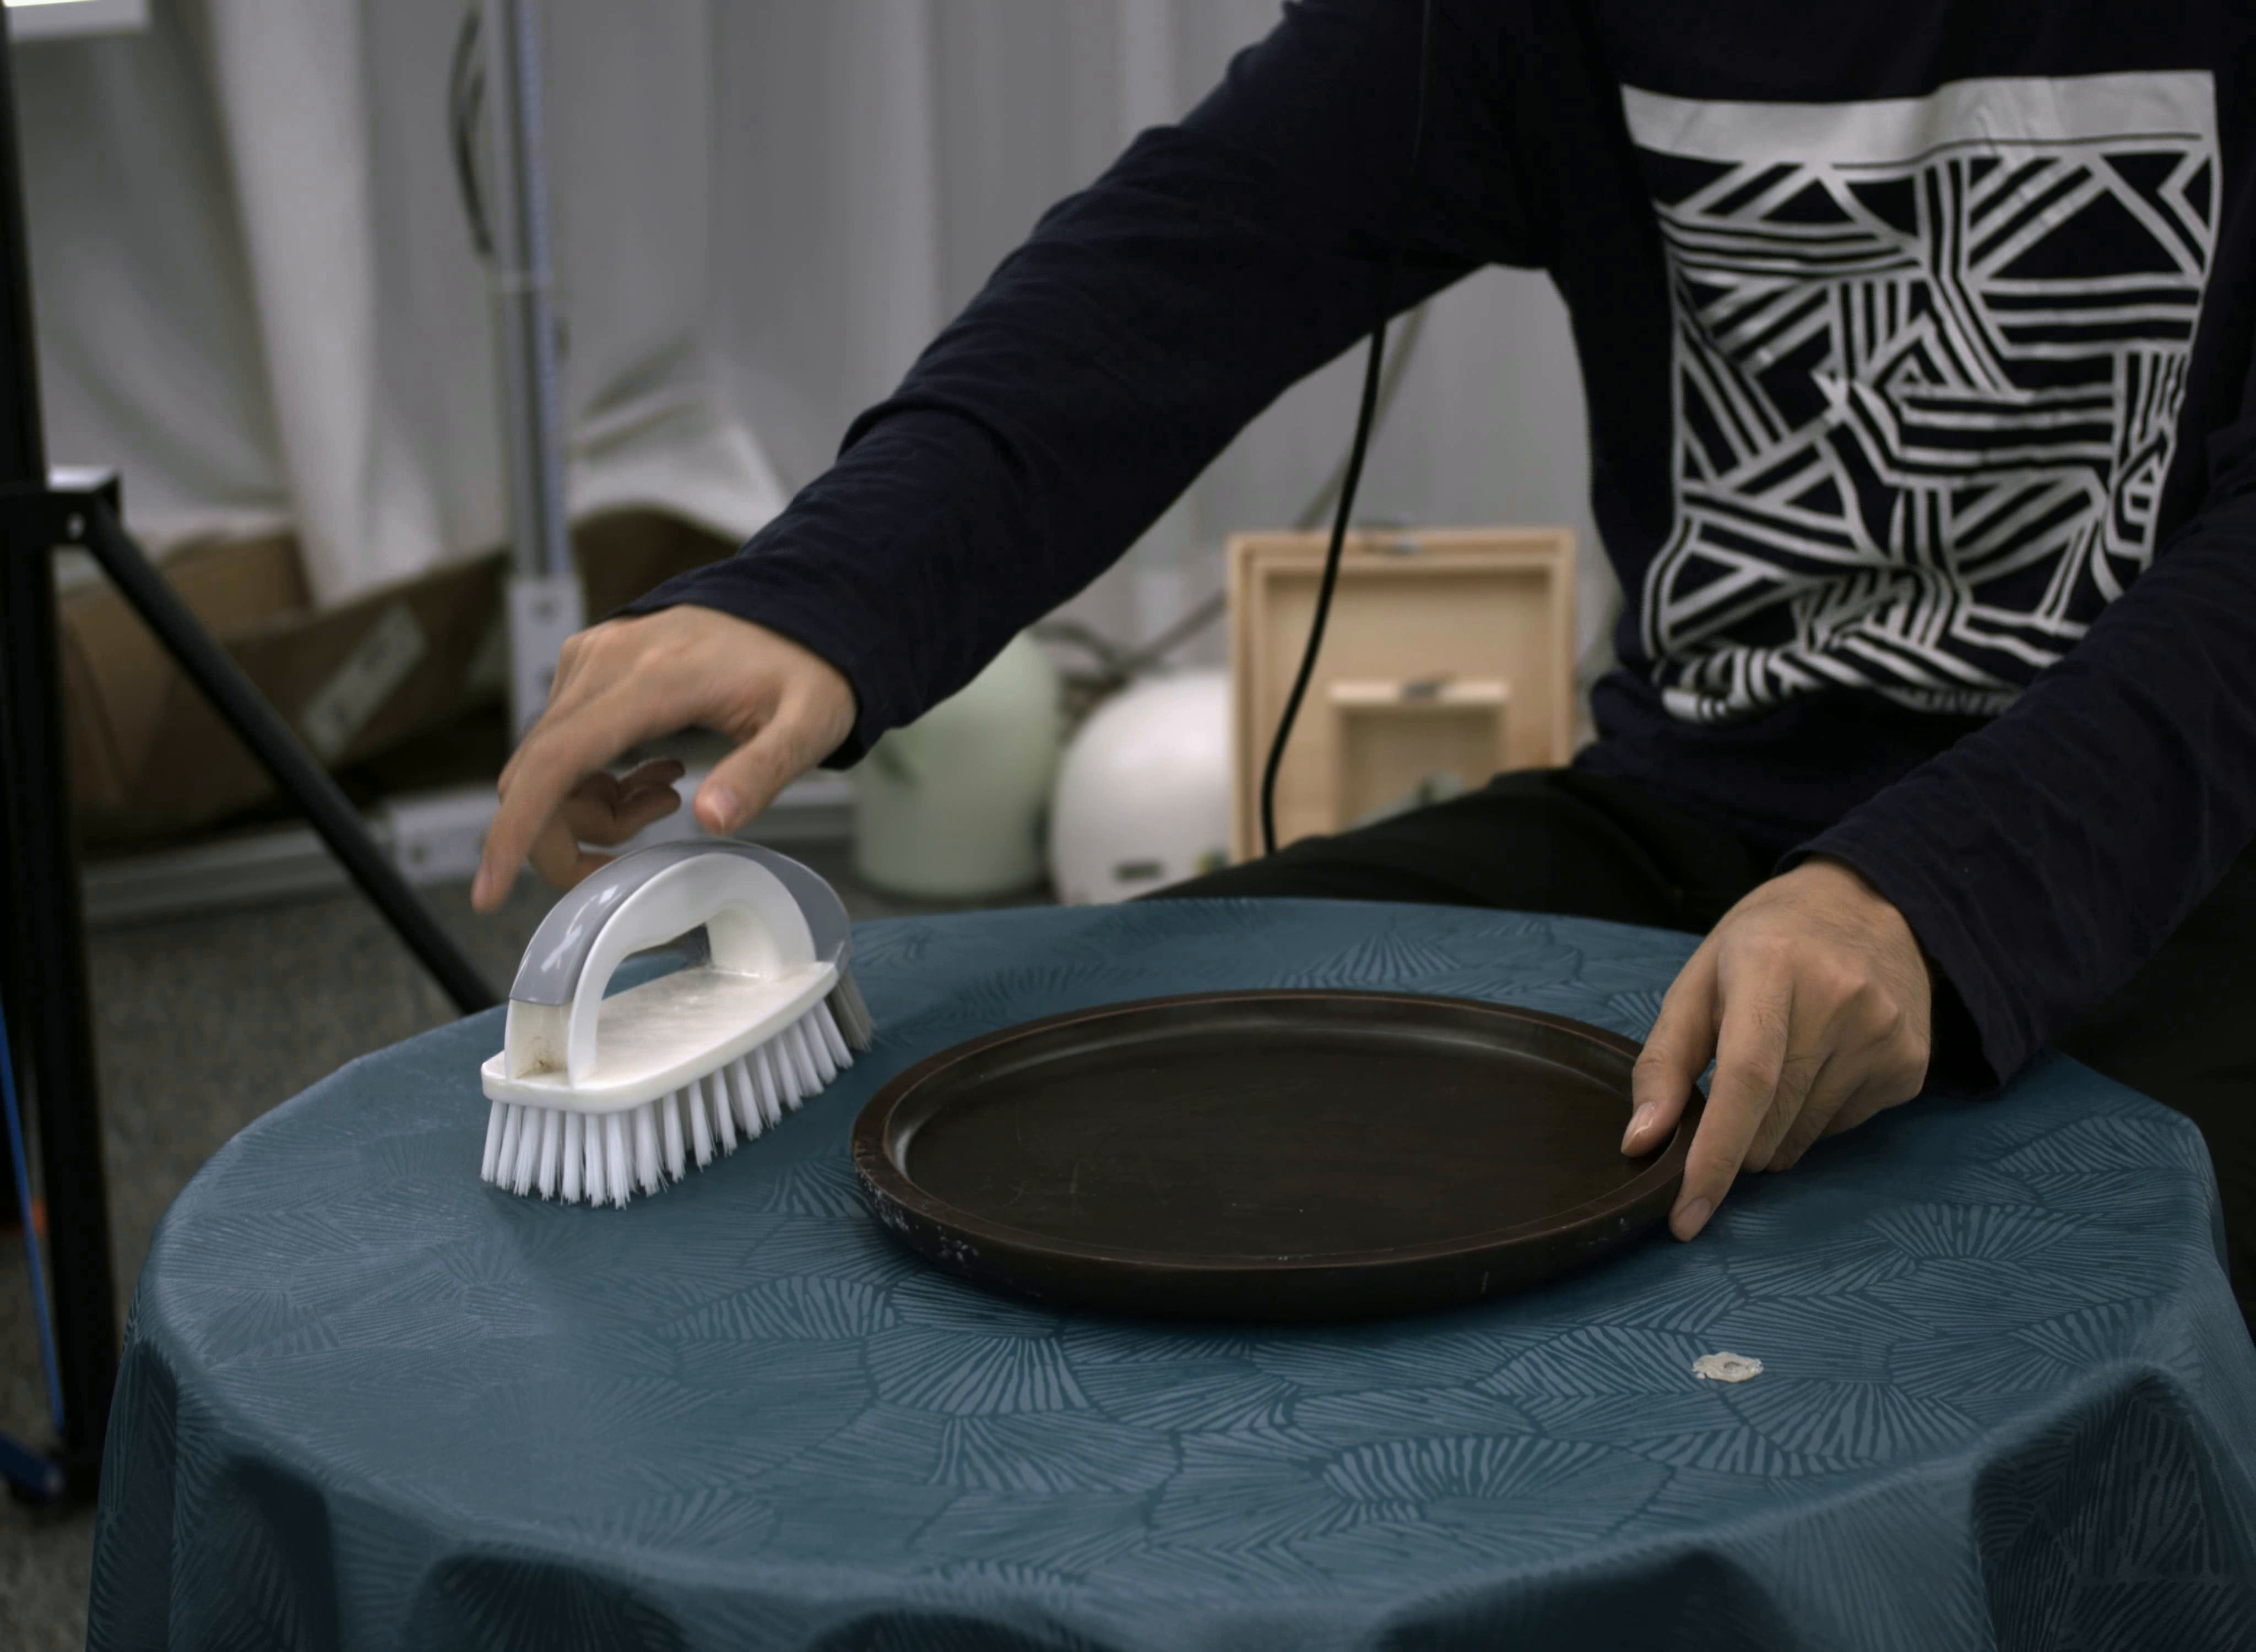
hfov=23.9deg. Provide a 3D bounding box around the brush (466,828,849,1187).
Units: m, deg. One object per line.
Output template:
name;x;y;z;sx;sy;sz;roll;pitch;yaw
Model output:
brush;-0.135;0.045;1.637;0.062;0.094;0.172;7;16;30

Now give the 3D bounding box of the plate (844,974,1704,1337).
plate;0.043;0.095;1.558;0.253;0.029;0.256;-3;17;0
